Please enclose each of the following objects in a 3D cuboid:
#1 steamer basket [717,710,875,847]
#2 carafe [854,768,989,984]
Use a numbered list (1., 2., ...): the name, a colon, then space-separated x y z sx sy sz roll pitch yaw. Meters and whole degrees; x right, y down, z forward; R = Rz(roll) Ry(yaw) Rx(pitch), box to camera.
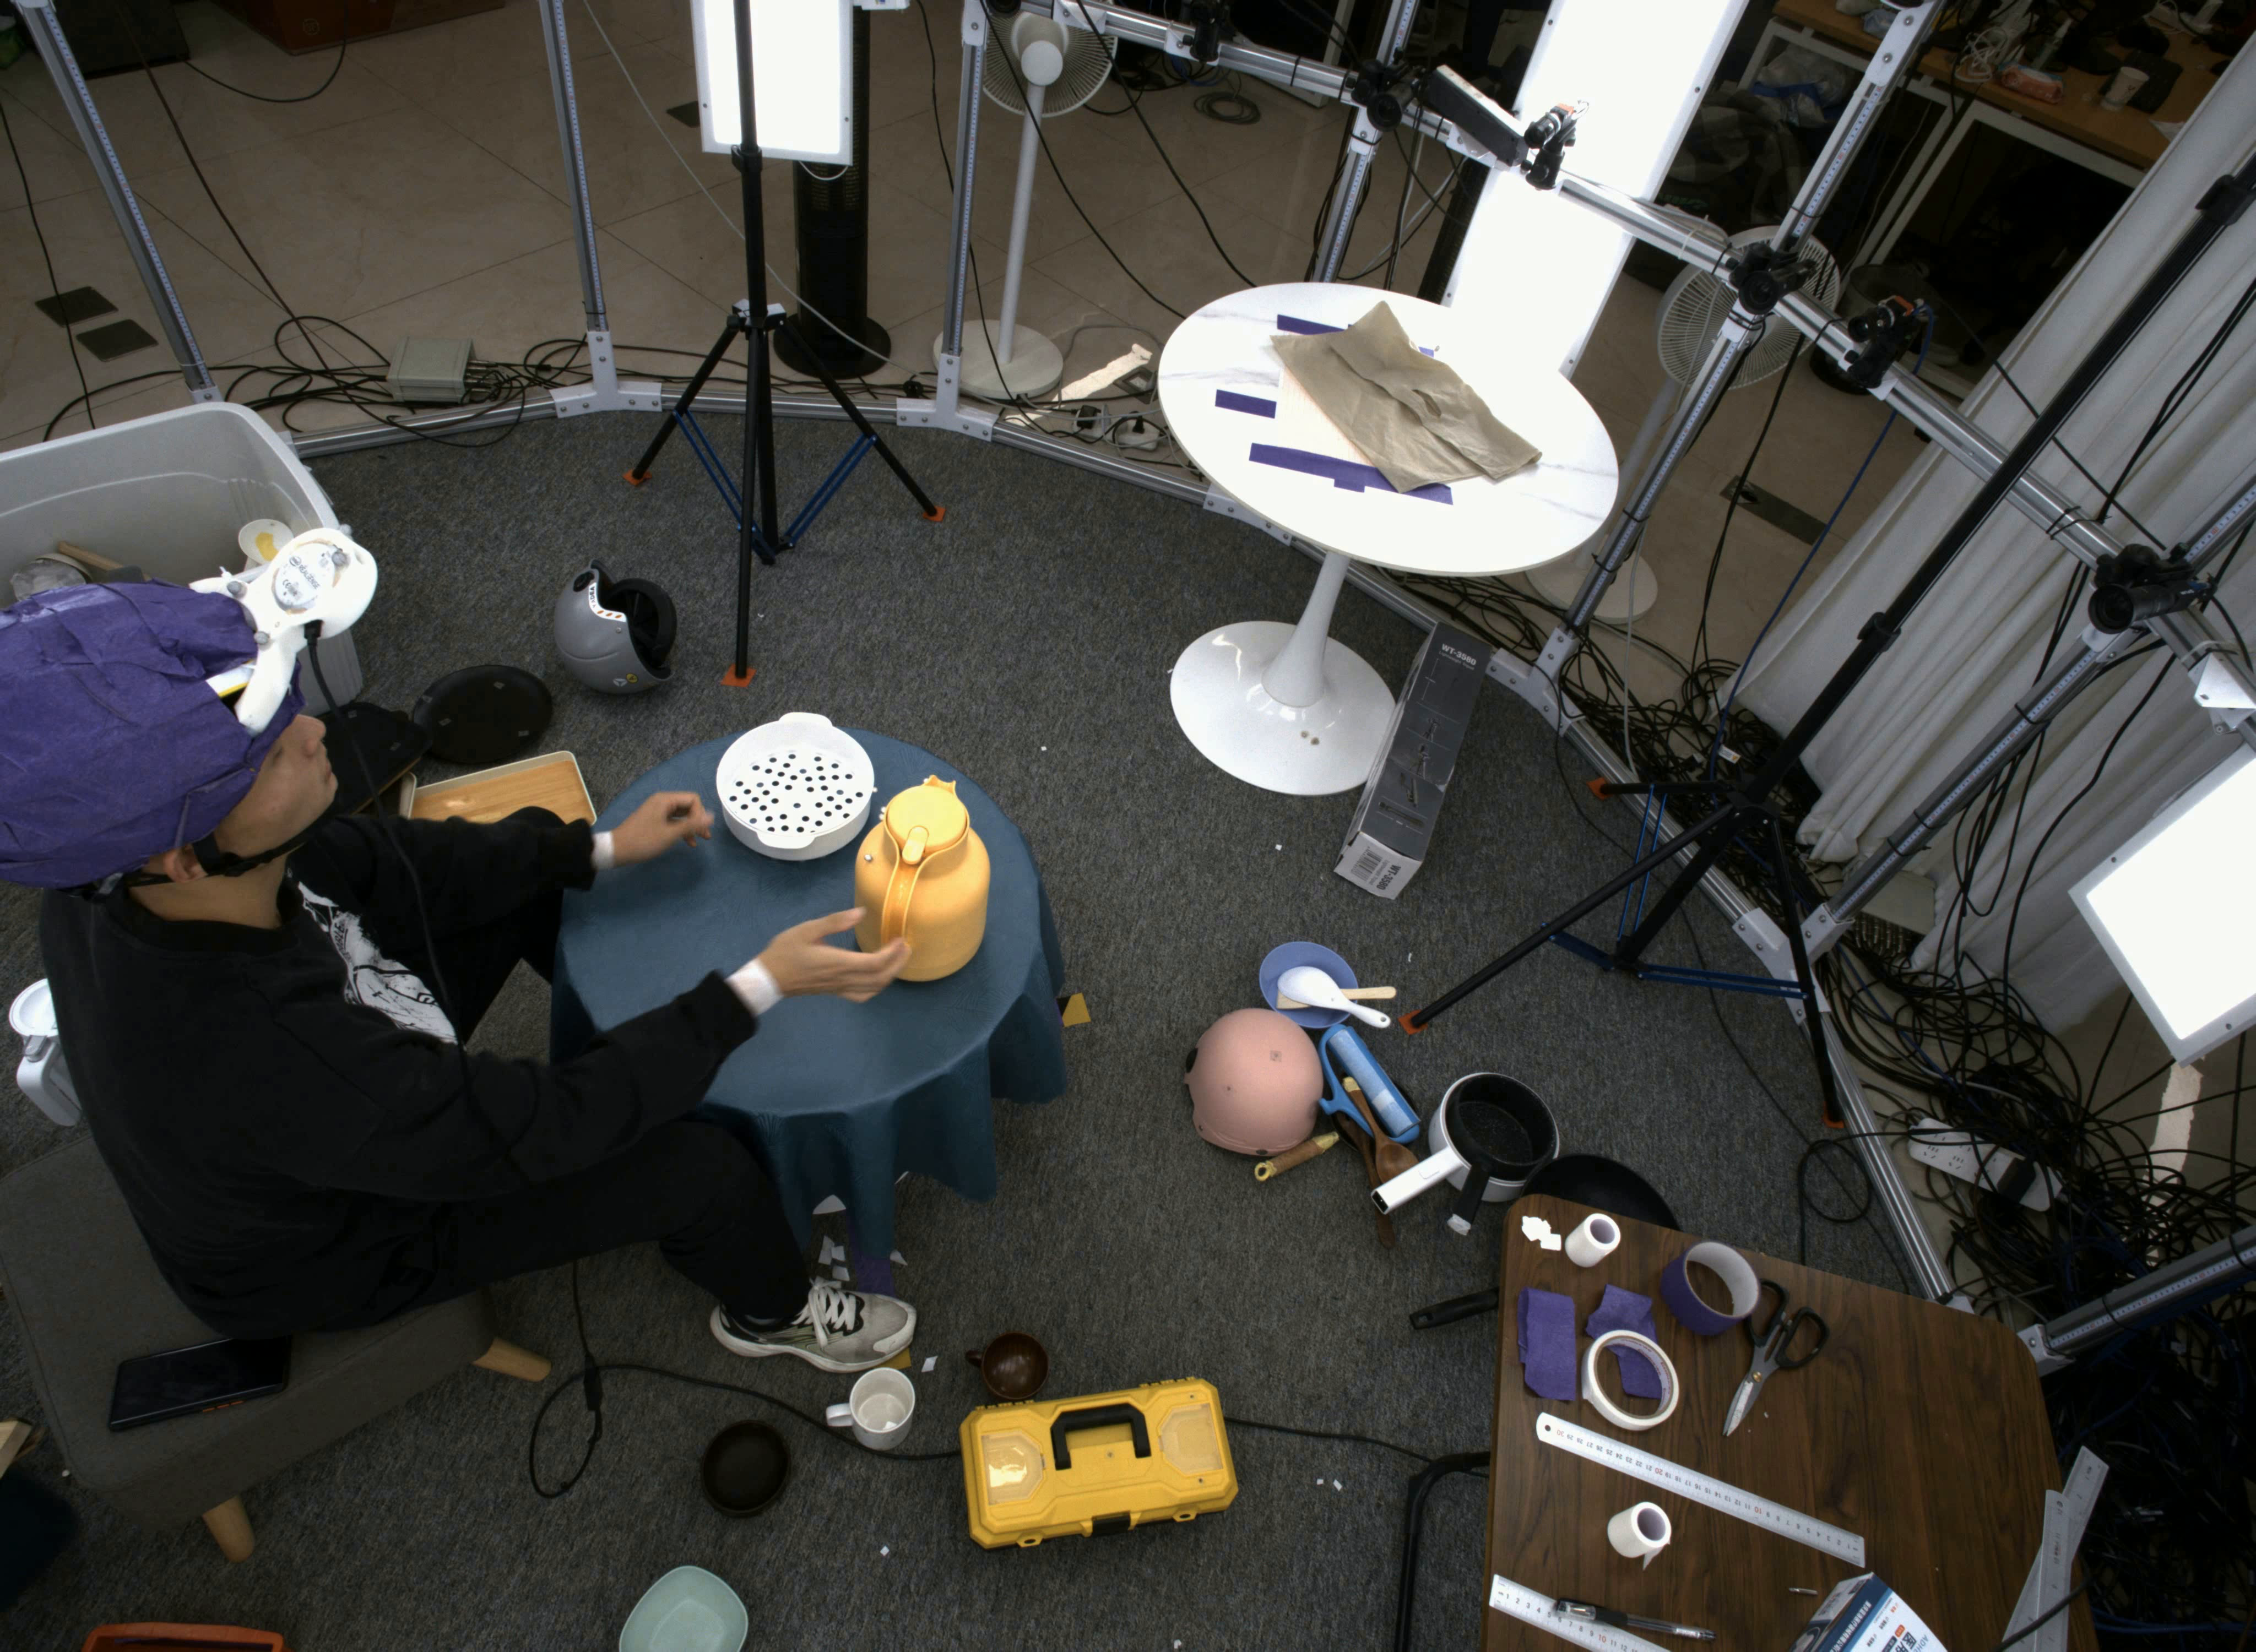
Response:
1. steamer basket: -0.437 -0.059 1.704 0.202 0.071 0.225 8 42 -13
2. carafe: -0.252 0.072 1.542 0.161 0.267 0.200 15 49 3
